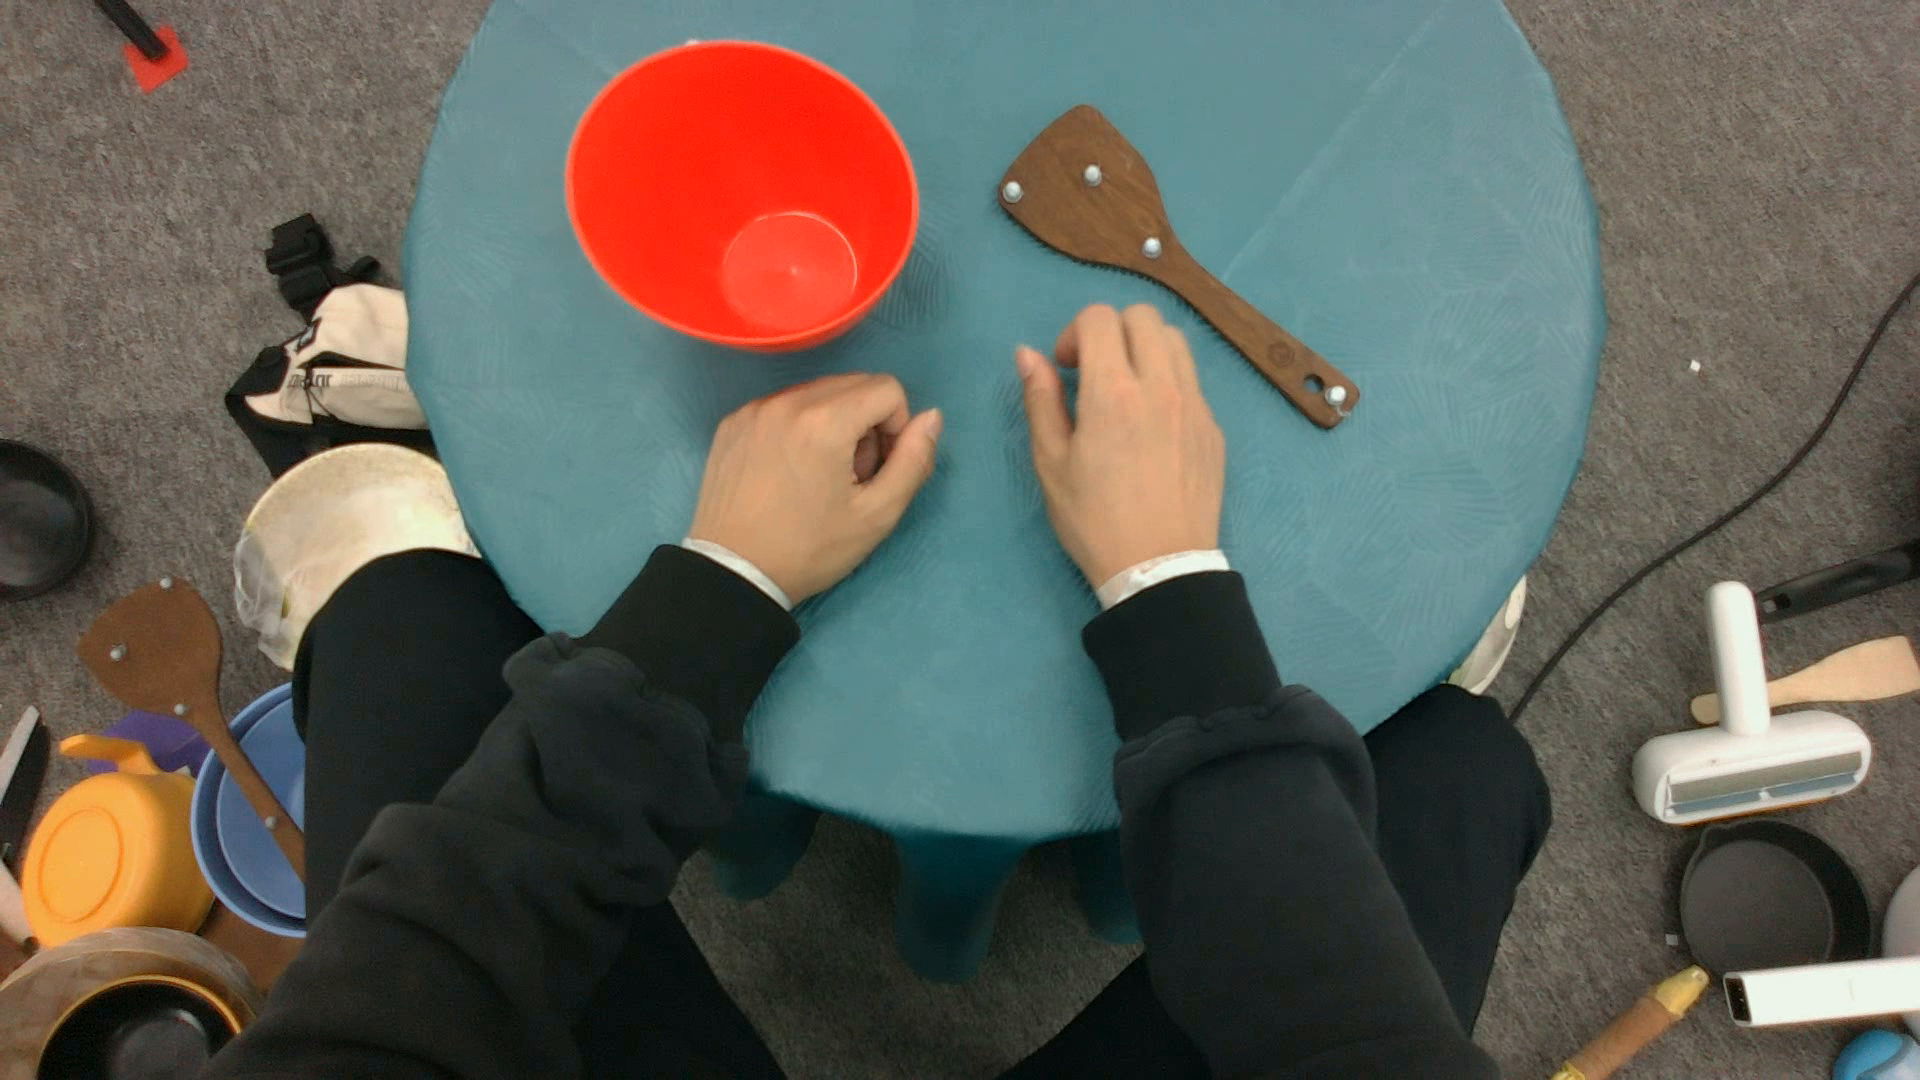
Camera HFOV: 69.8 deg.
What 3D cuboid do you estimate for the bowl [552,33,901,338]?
[{"bbox_3d":[-0.102,-0.148,0.638,0.148,0.104,0.148,1,75,-2],"label":"bowl"}]

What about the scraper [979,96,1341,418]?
[{"bbox_3d":[0.105,-0.137,0.691,0.211,0.011,0.076,43,78,8],"label":"scraper"}]
